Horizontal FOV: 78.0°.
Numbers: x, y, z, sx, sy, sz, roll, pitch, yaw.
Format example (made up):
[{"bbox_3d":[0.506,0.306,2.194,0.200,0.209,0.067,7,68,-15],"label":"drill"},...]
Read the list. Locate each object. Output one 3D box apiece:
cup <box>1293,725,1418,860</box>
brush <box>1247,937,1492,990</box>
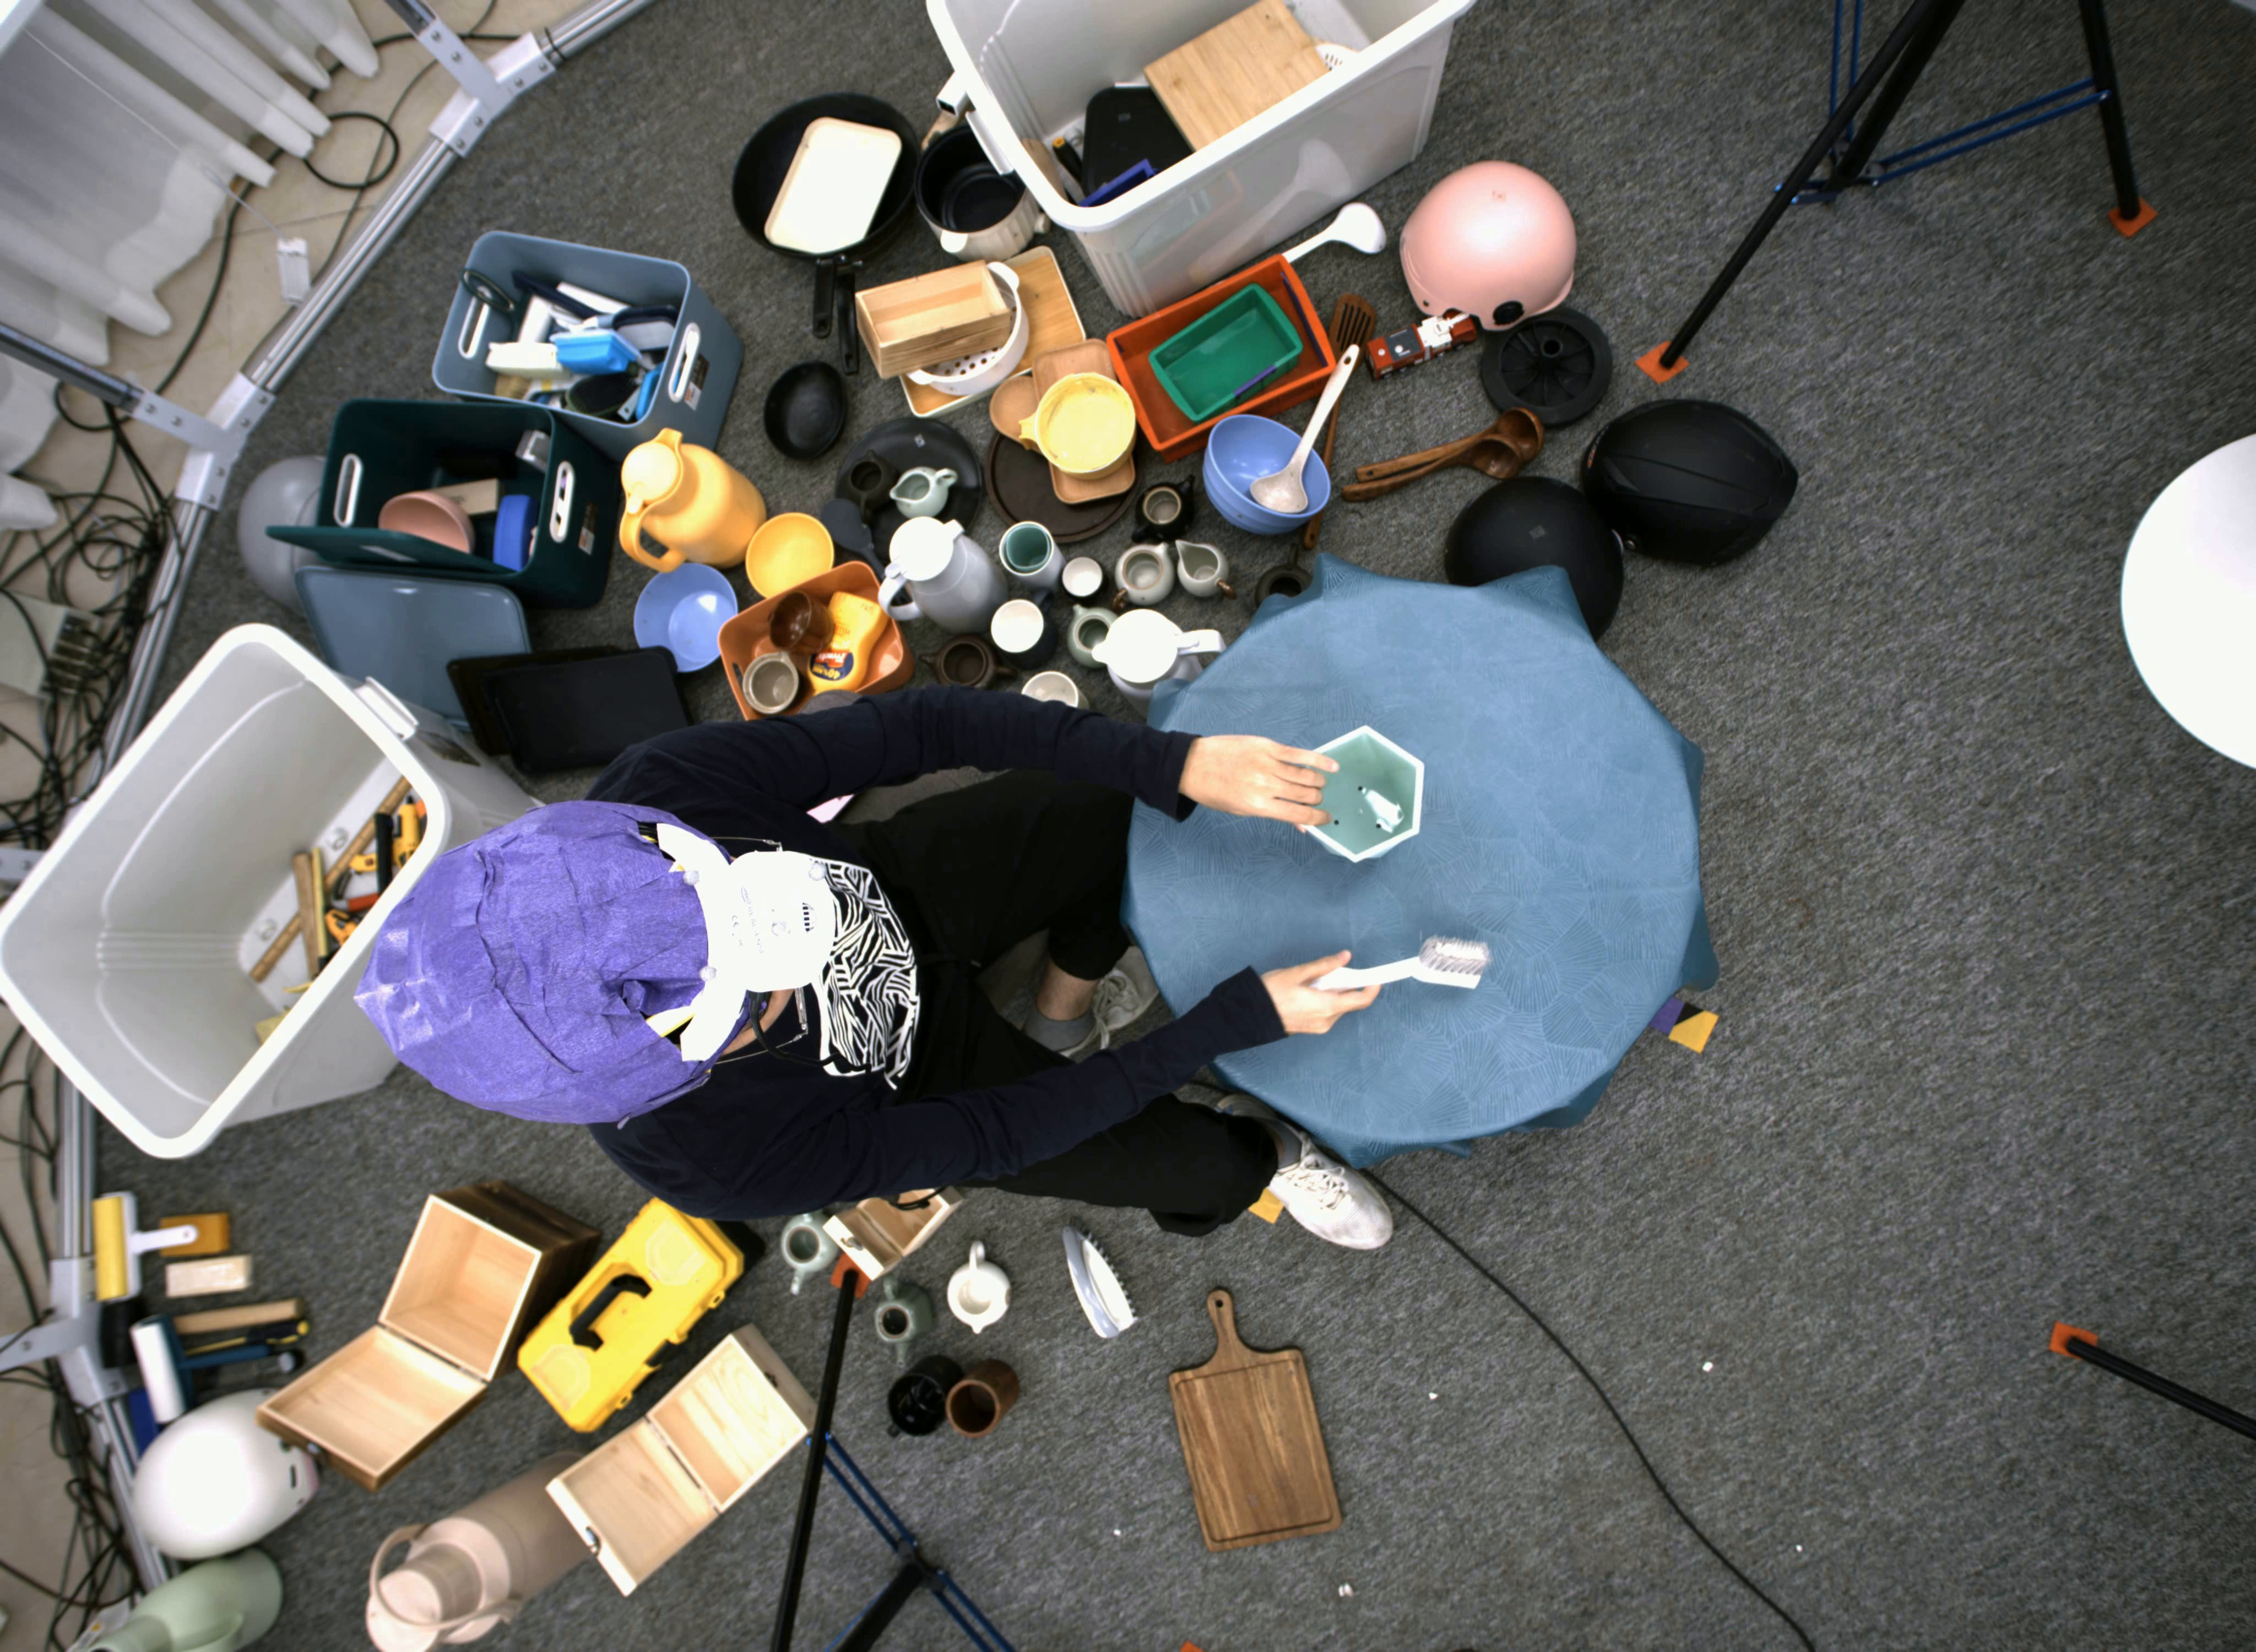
[{"bbox_3d":[0.231,-0.026,1.388,0.130,0.163,0.115,33,92,11],"label":"cup"},{"bbox_3d":[0.240,0.137,1.386,0.244,0.051,0.033,-3,51,3],"label":"brush"}]
